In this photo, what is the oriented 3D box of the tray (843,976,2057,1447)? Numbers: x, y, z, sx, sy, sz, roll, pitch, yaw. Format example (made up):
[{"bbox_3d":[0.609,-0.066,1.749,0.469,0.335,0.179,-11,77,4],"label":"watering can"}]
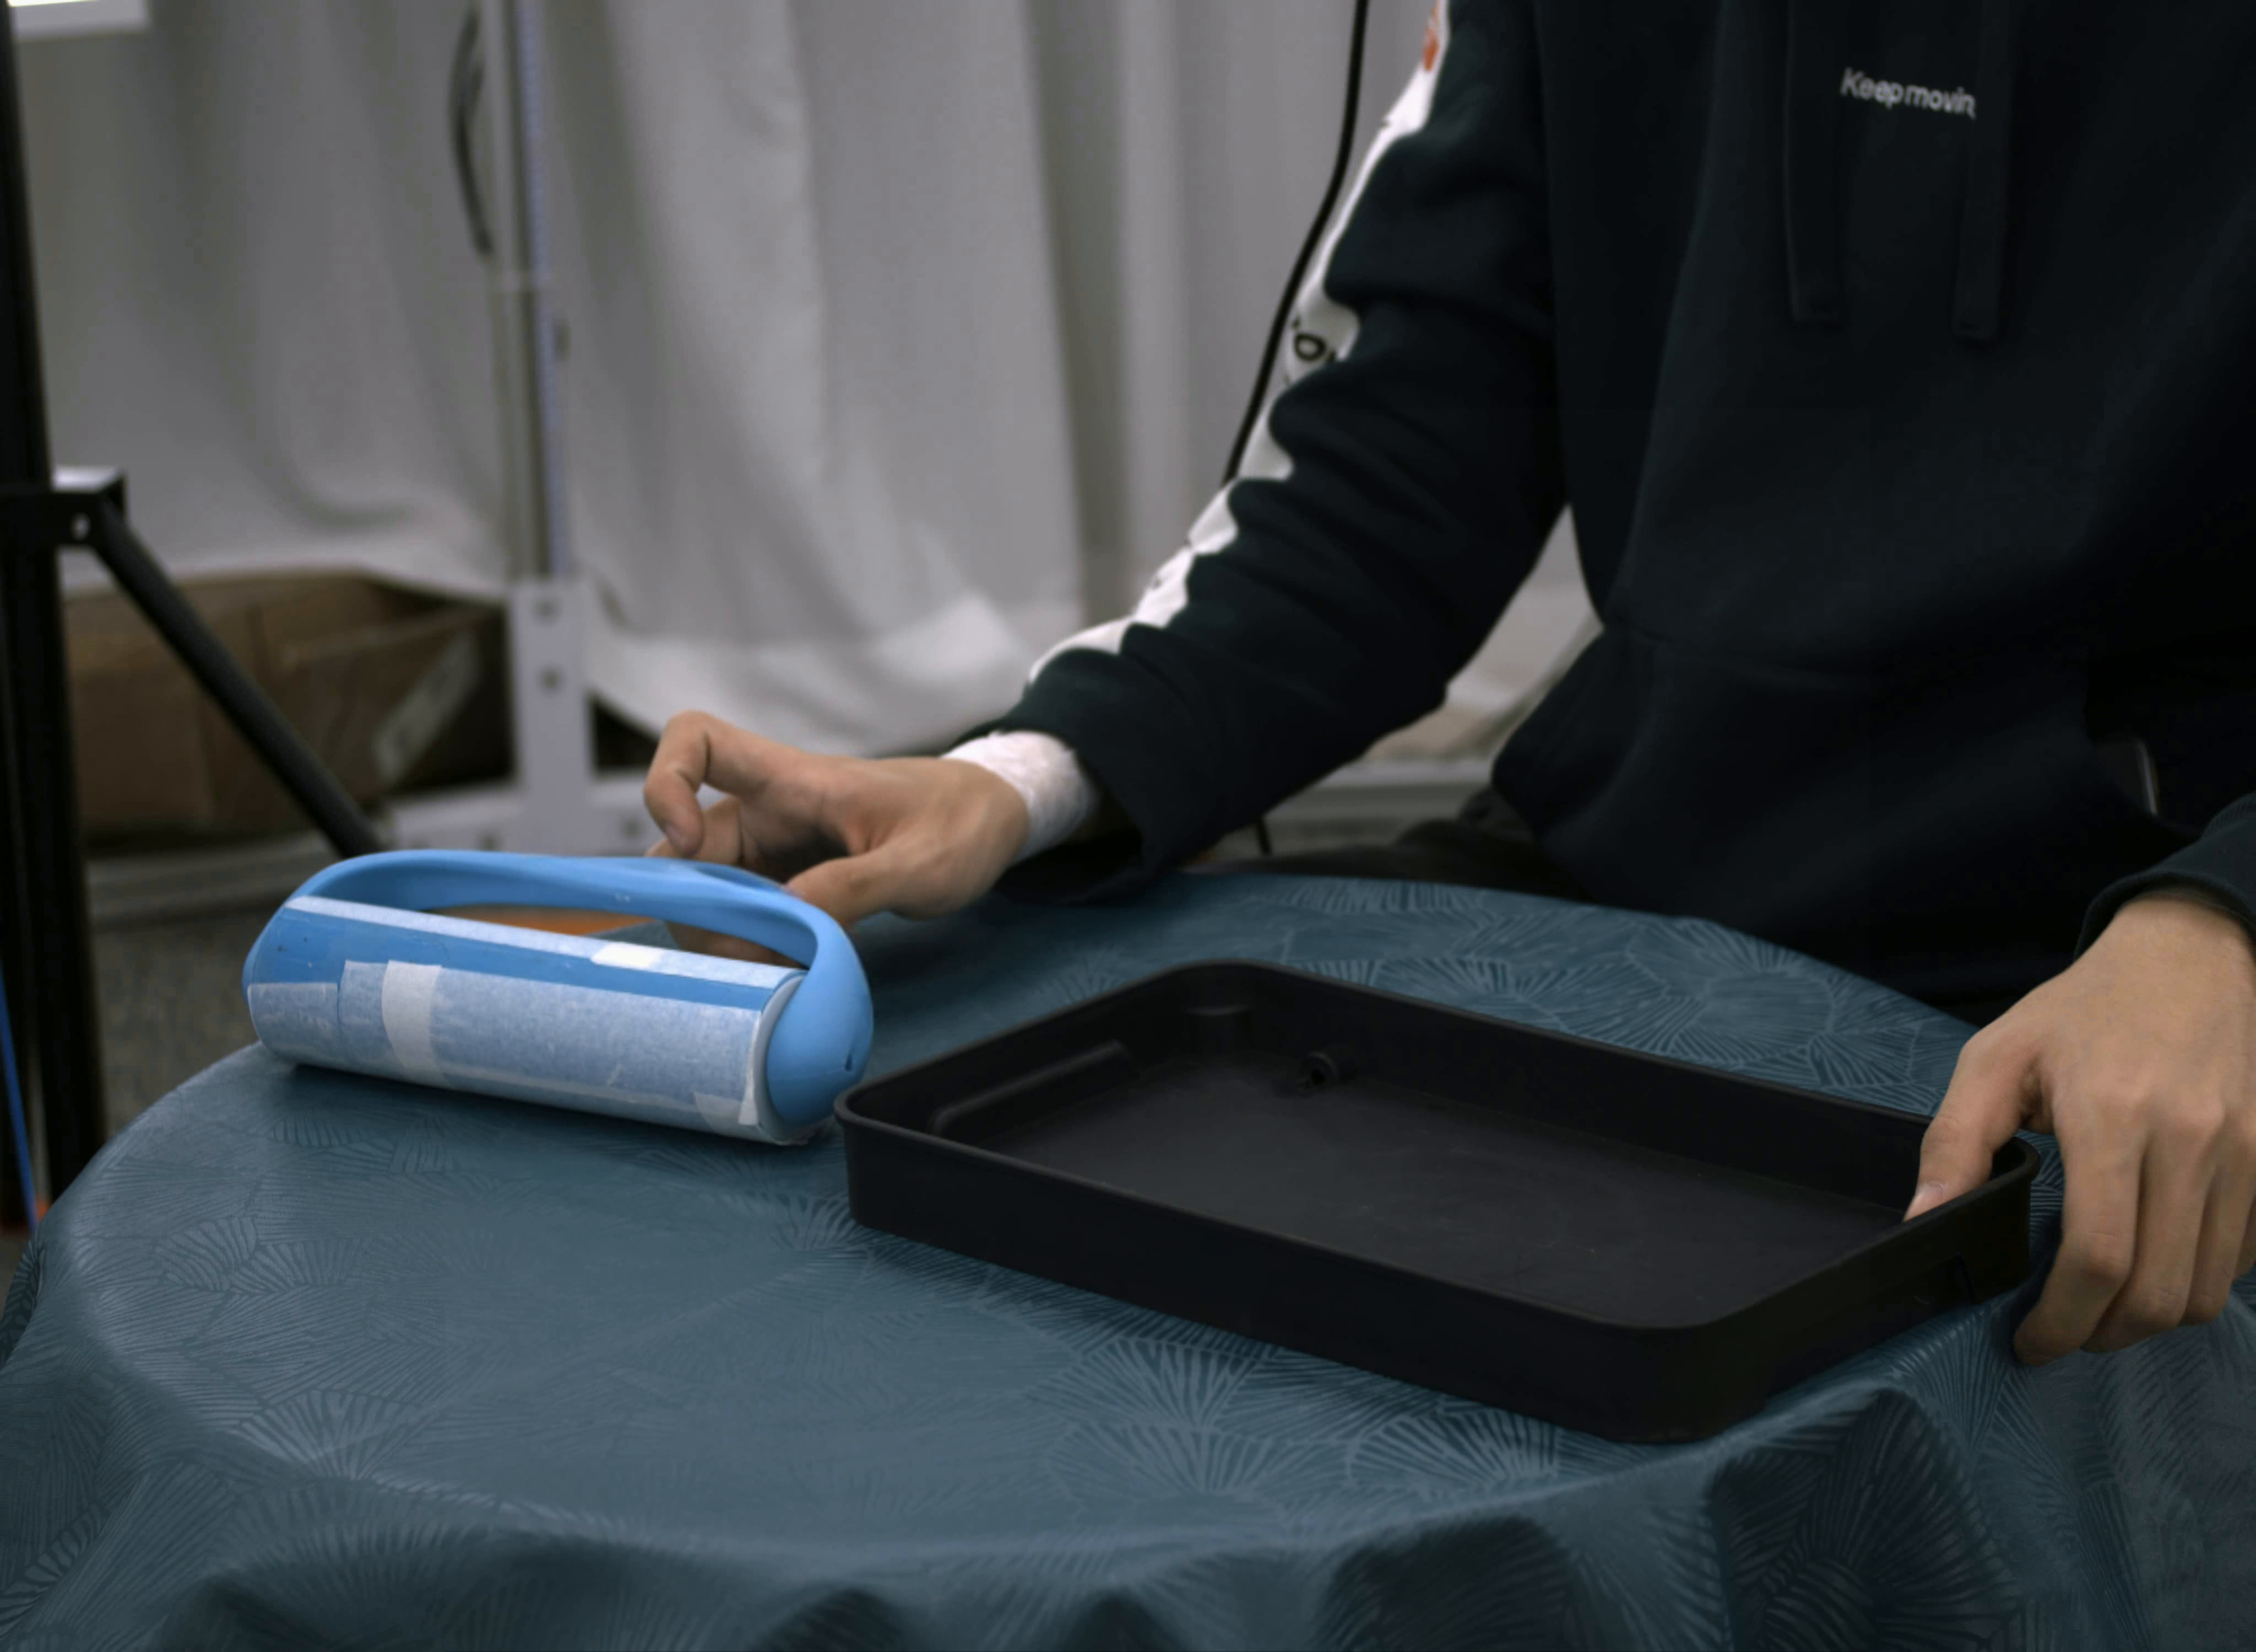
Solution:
[{"bbox_3d":[0.088,0.103,1.498,0.325,0.037,0.180,10,20,42],"label":"tray"}]

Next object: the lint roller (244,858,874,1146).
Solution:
[{"bbox_3d":[-0.153,0.043,1.709,0.233,0.068,0.177,4,19,30],"label":"lint roller"}]
